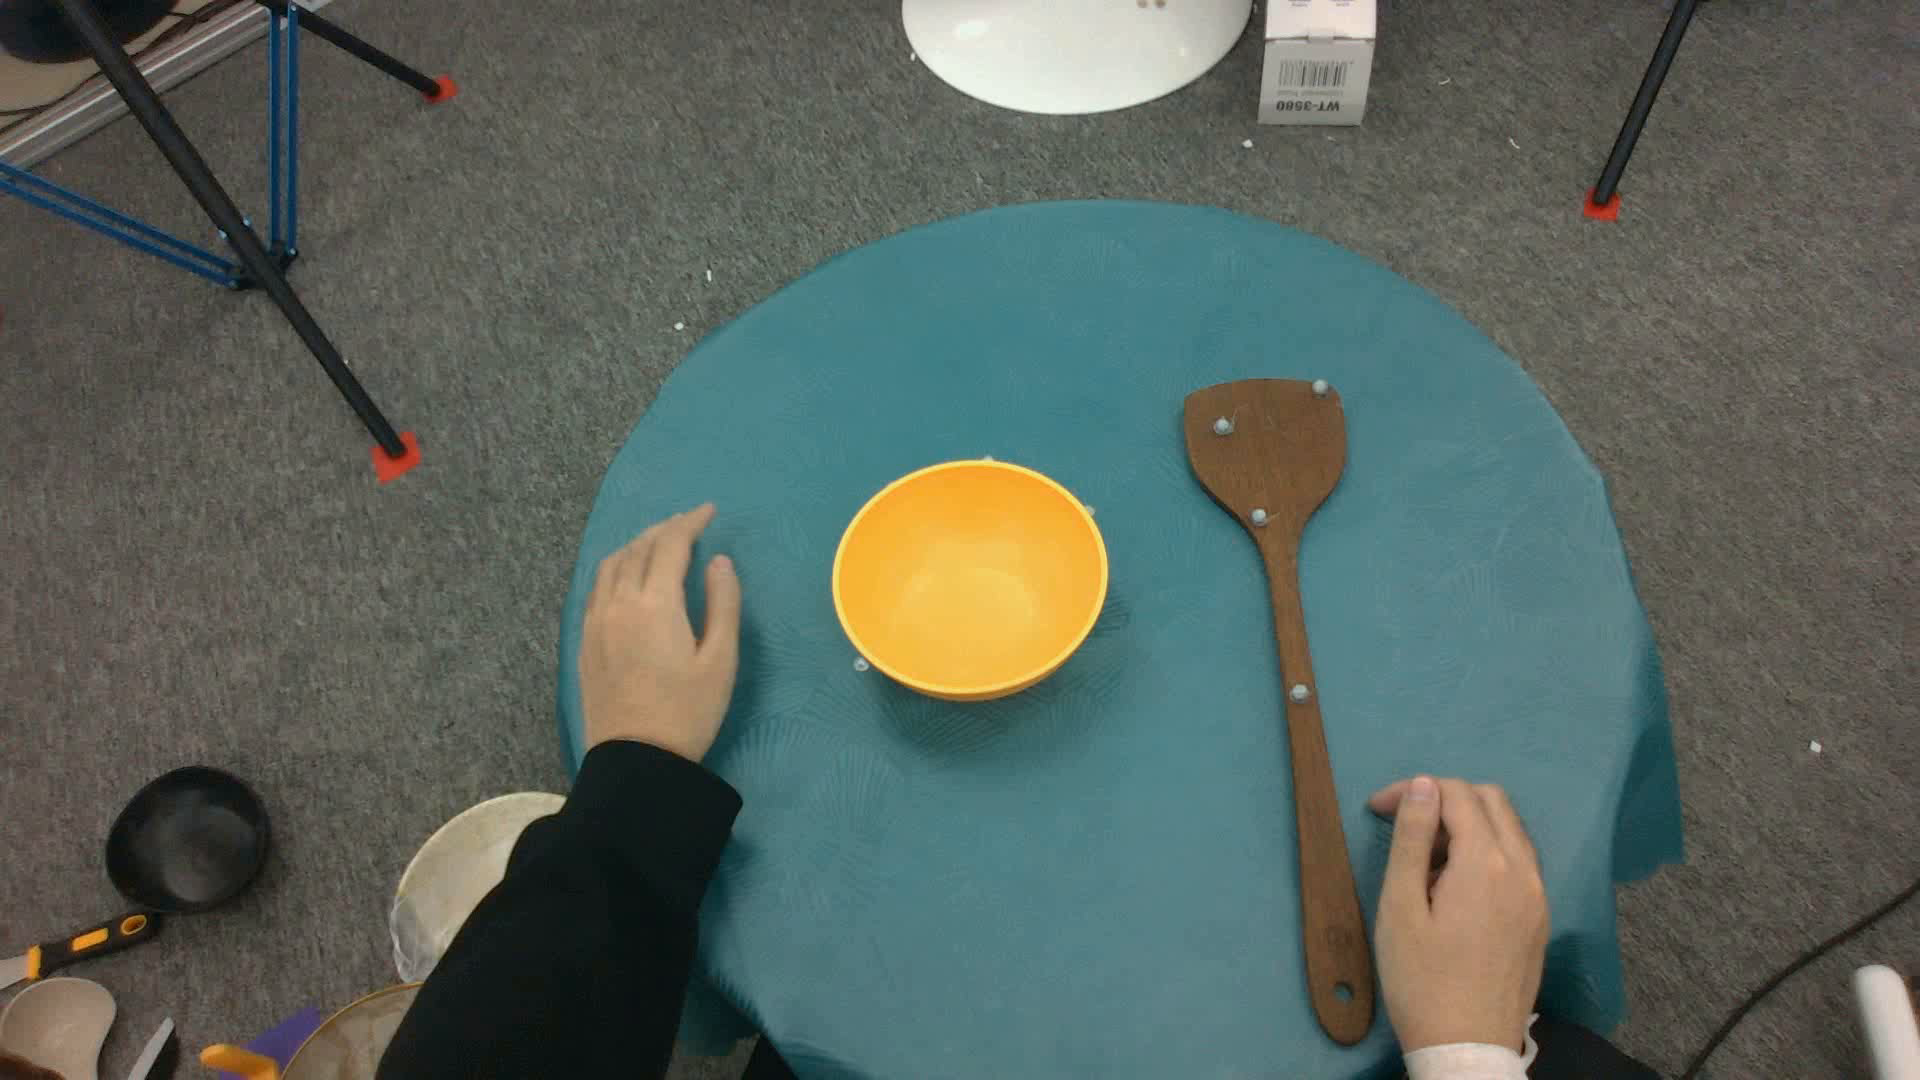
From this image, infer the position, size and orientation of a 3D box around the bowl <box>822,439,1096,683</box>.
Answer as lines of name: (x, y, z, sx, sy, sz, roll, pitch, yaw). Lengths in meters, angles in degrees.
bowl: (0.001, 0.020, 0.746, 0.145, 0.060, 0.146, -2, 59, 4)

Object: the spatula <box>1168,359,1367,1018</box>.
spatula: (0.174, 0.055, 0.735, 0.096, 0.016, 0.387, -3, 57, 3)
